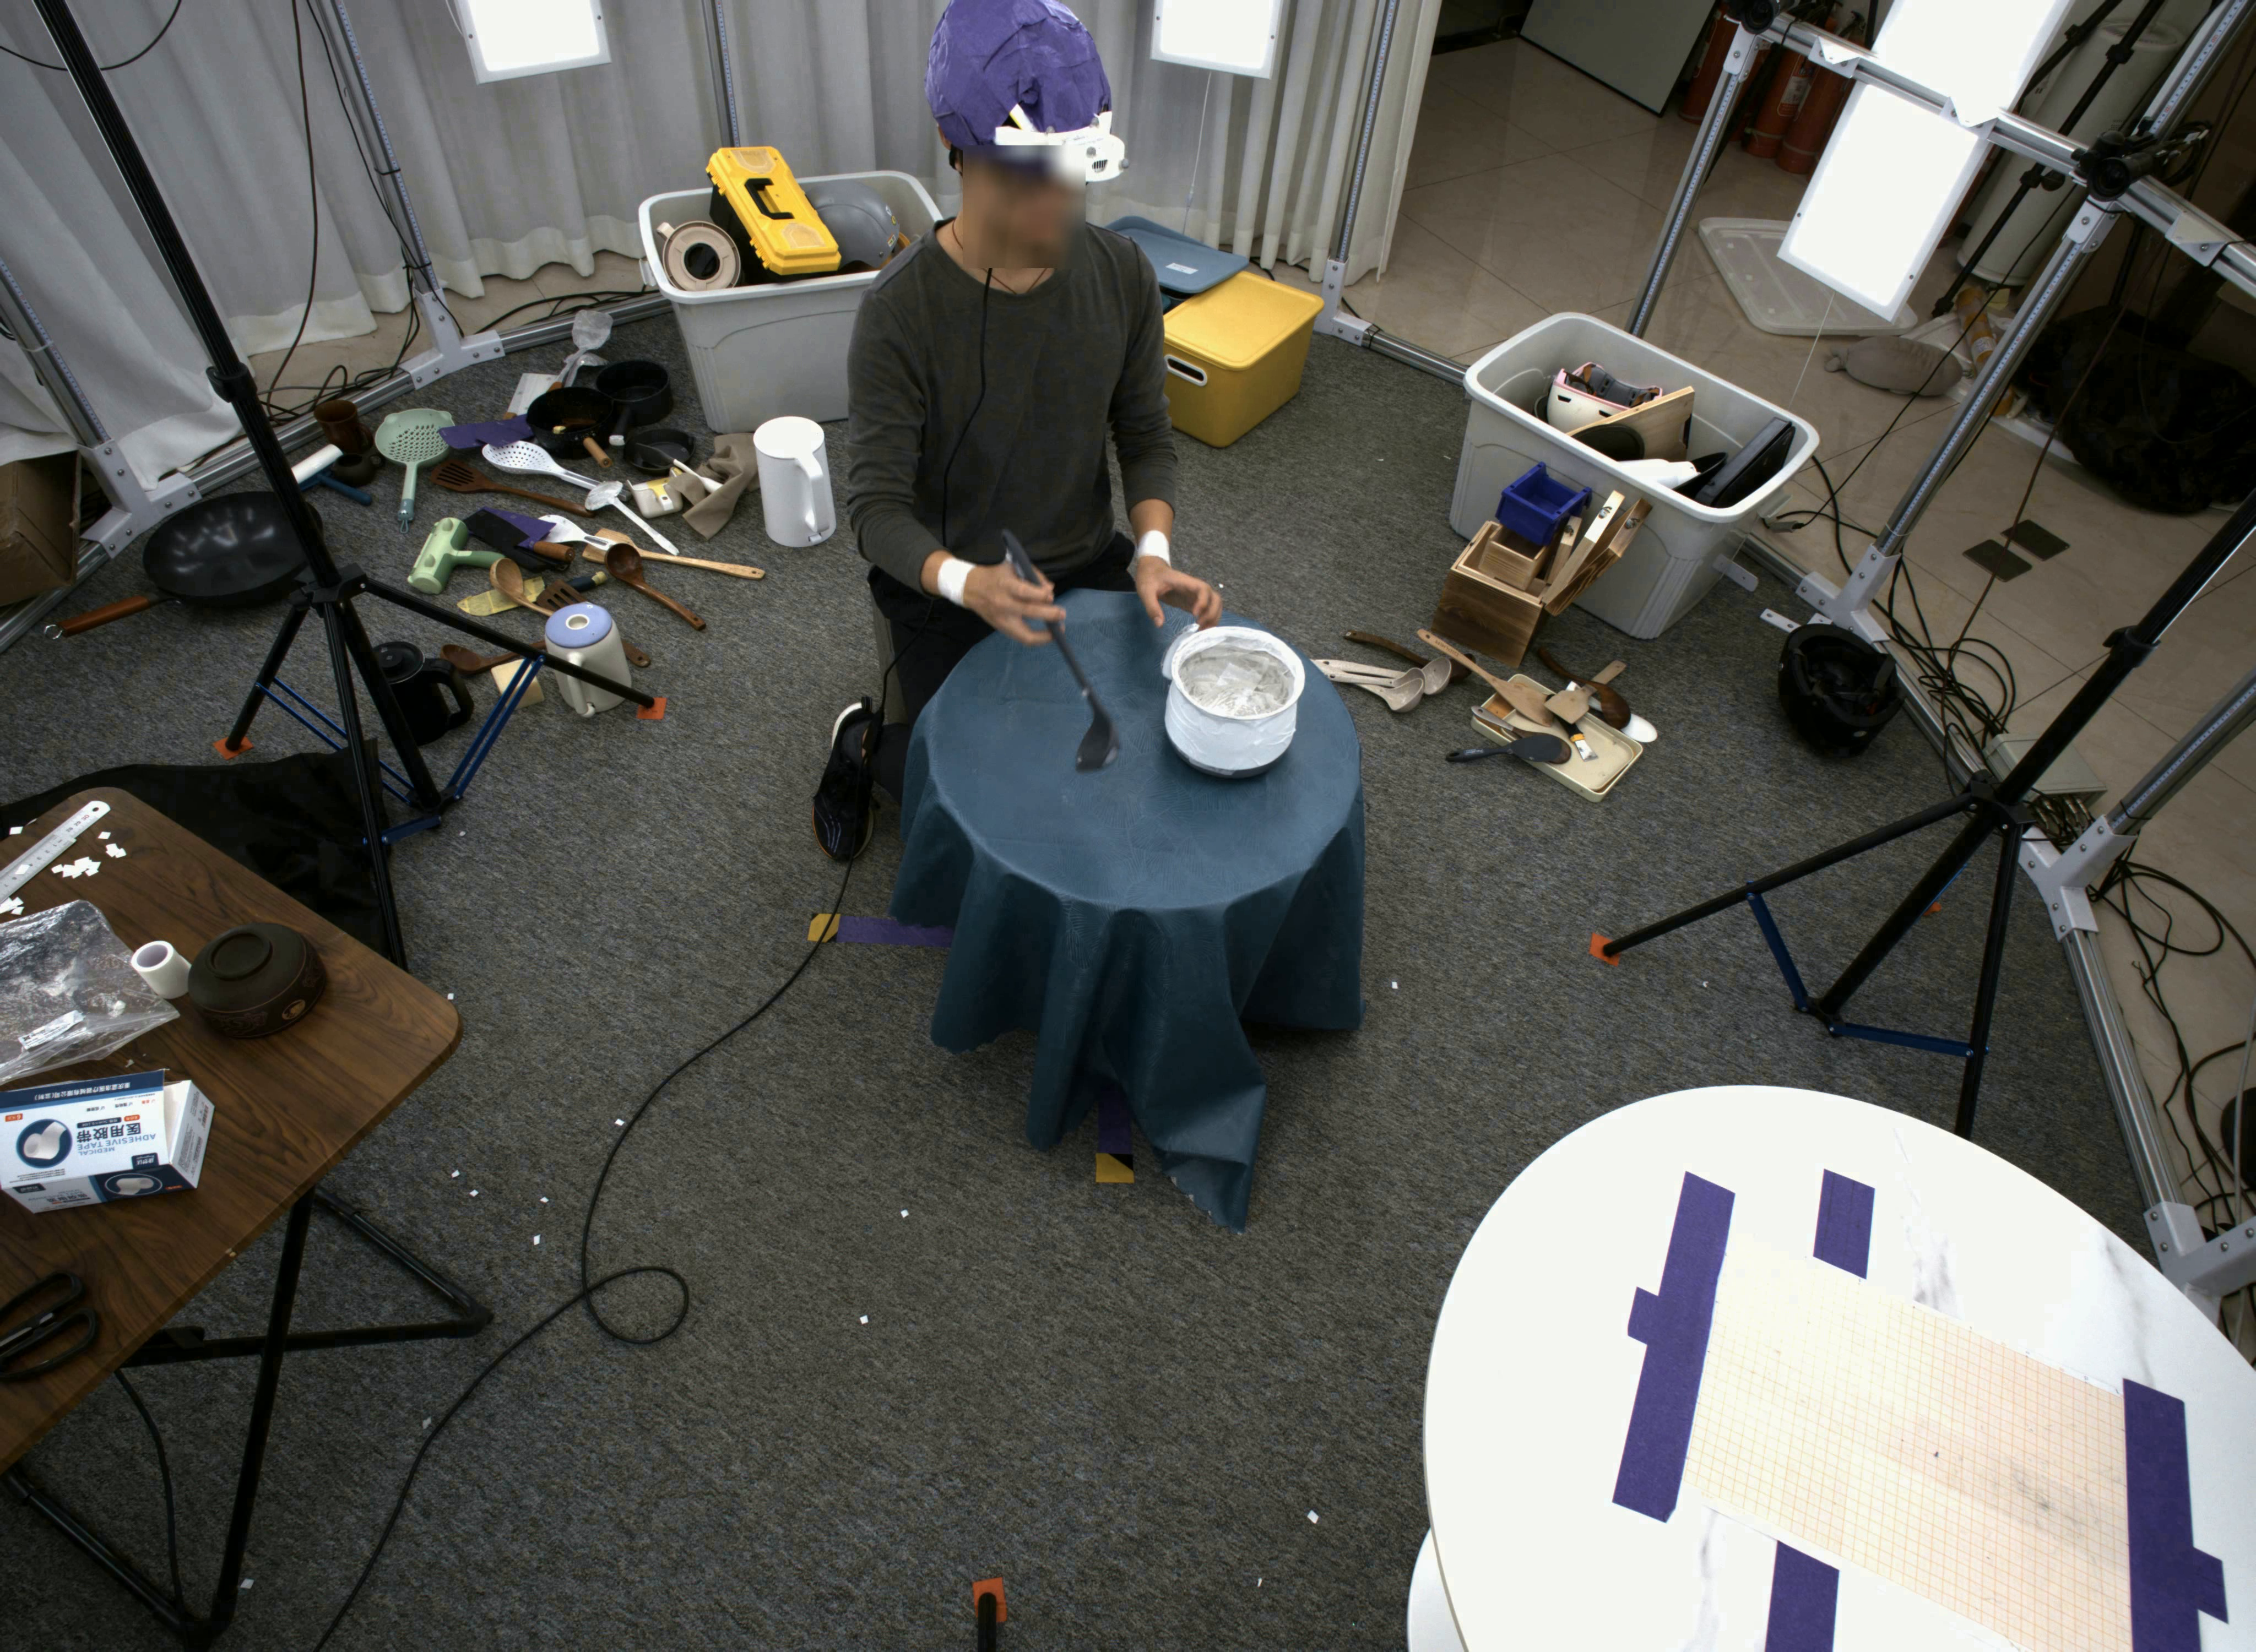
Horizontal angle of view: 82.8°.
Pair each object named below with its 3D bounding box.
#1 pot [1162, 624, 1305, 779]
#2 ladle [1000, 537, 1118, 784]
[{"bbox_3d":[0.125,-0.180,1.745,0.179,0.133,0.238,-26,55,-24],"label":"pot"},{"bbox_3d":[-0.098,-0.199,1.567,0.064,0.086,0.312,-32,101,-30],"label":"ladle"}]
